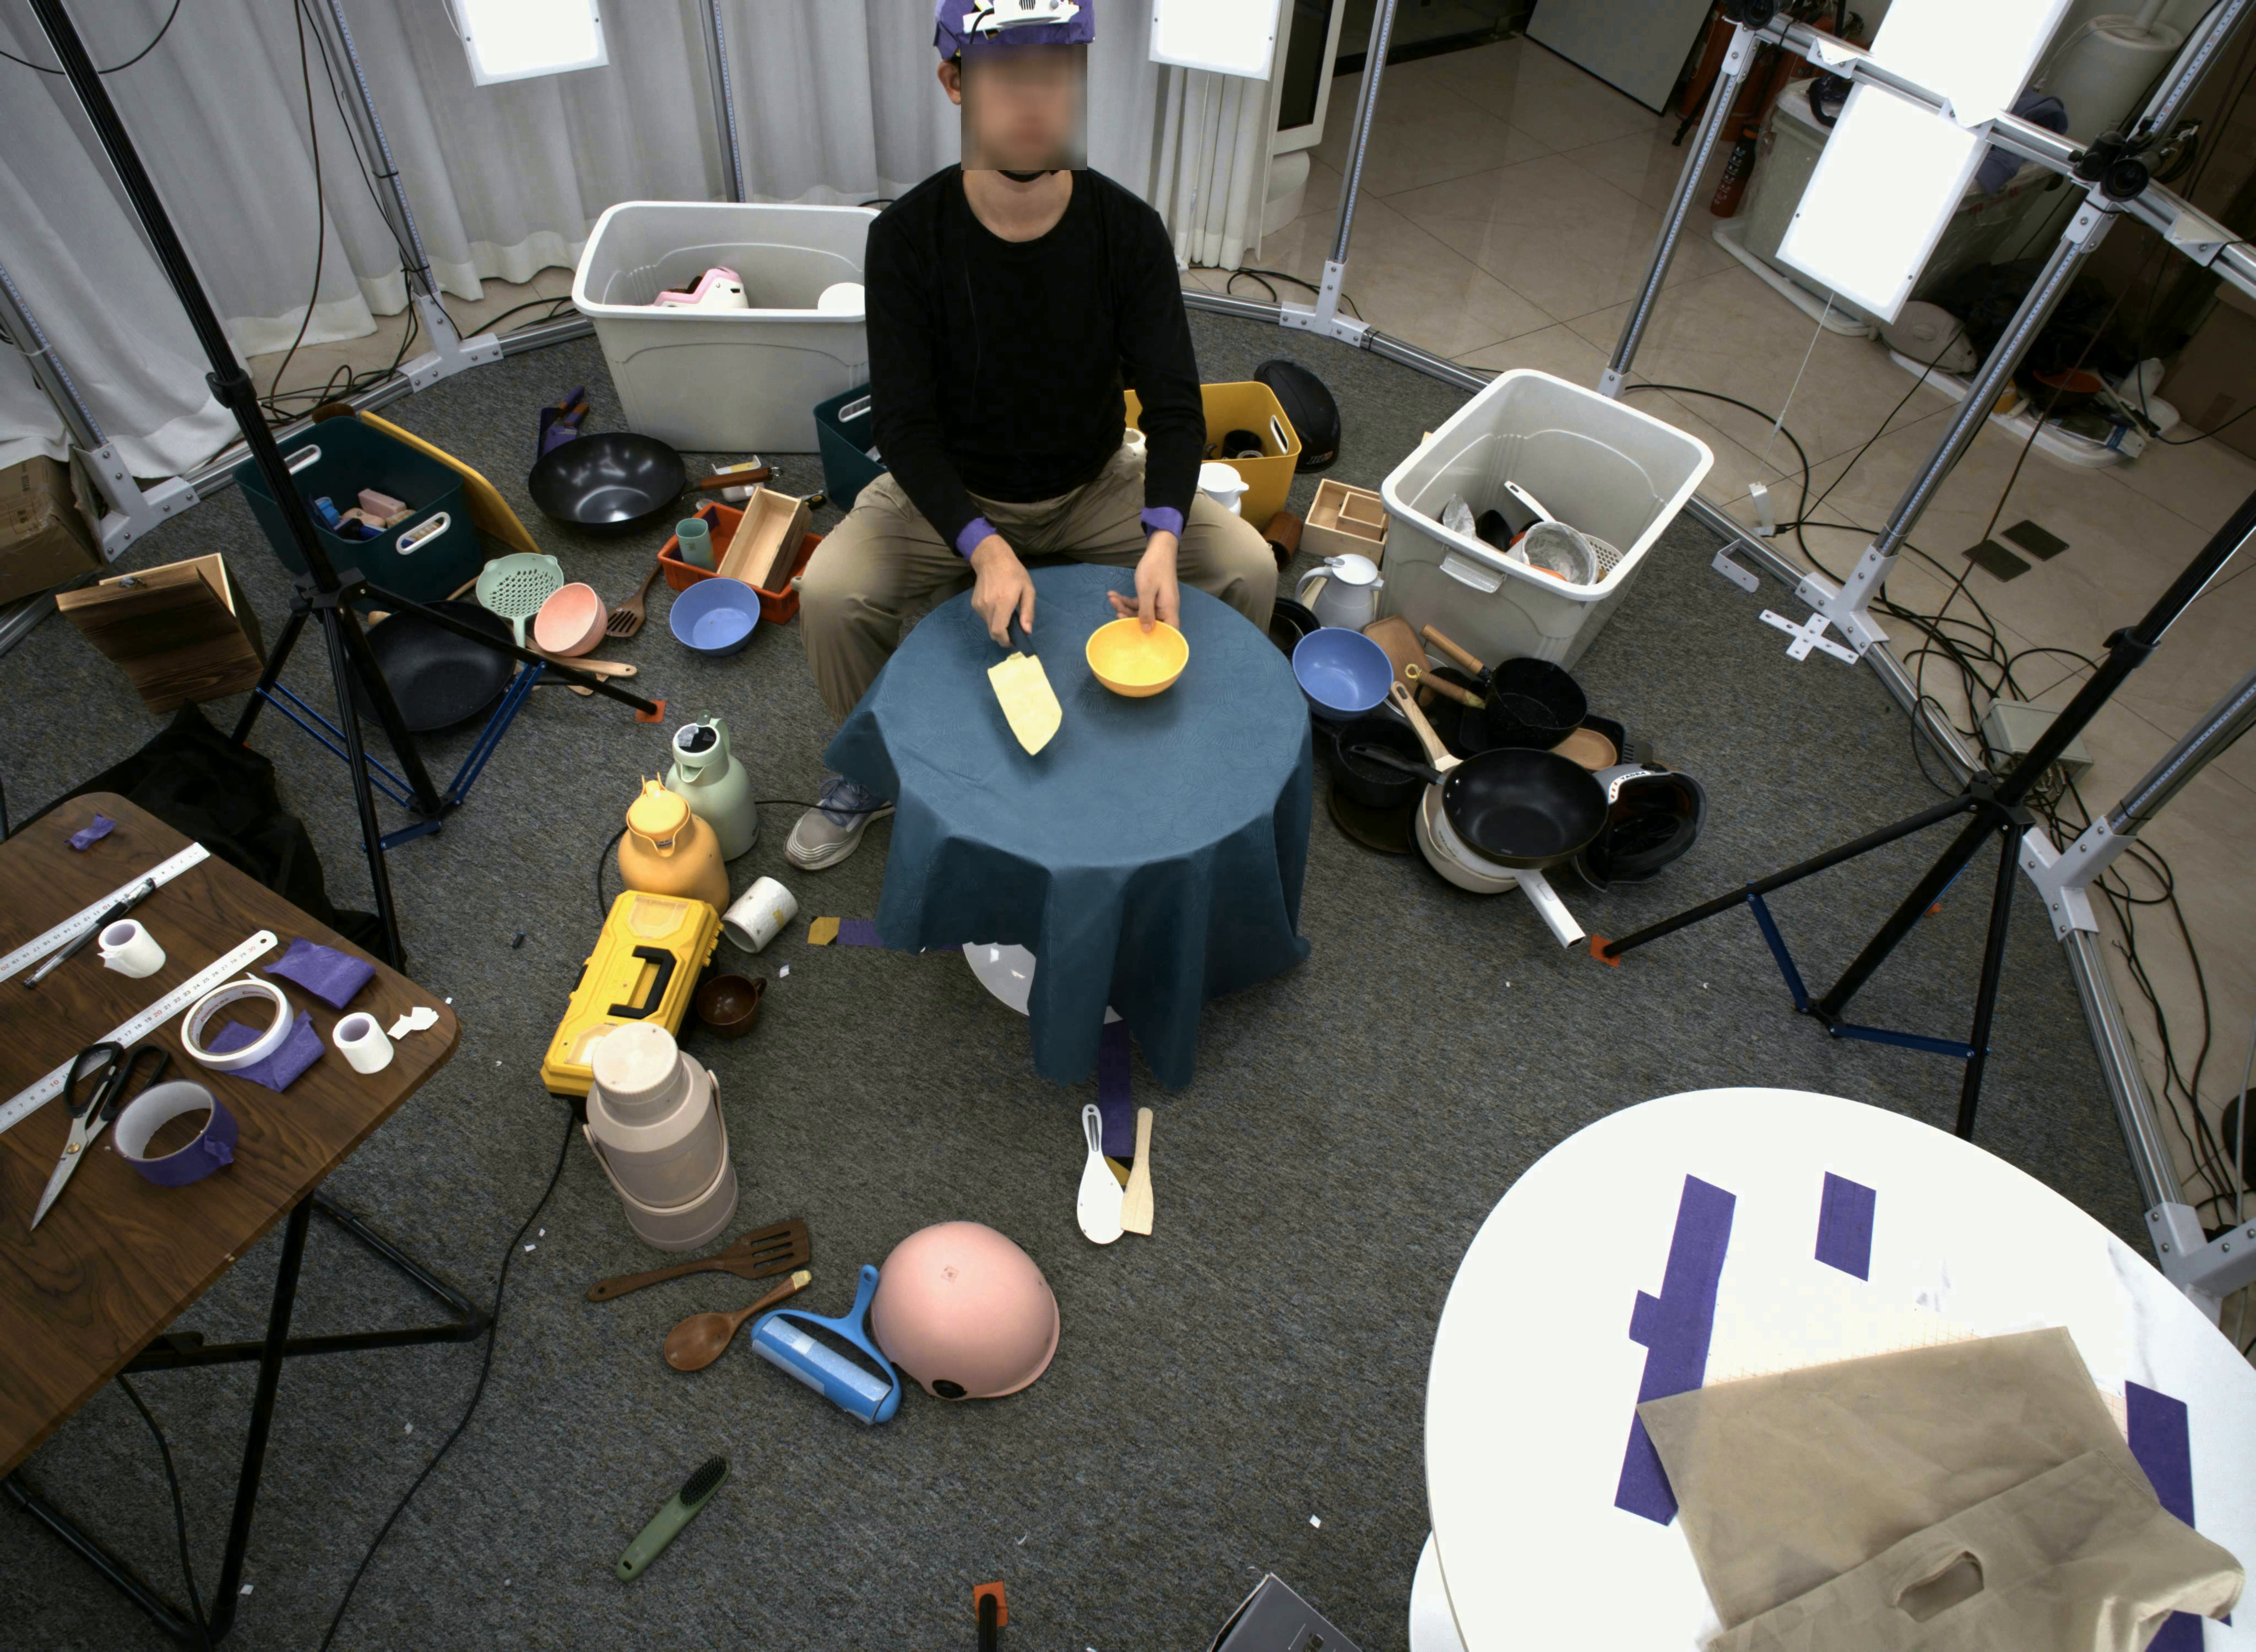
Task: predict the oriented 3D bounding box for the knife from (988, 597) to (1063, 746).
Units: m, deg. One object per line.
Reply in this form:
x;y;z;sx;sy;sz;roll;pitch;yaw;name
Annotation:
-0.153;-0.217;1.787;0.081;0.026;0.296;-22;52;1;knife

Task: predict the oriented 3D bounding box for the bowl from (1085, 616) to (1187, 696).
0.011;-0.231;1.829;0.145;0.058;0.149;1;48;-2;bowl
